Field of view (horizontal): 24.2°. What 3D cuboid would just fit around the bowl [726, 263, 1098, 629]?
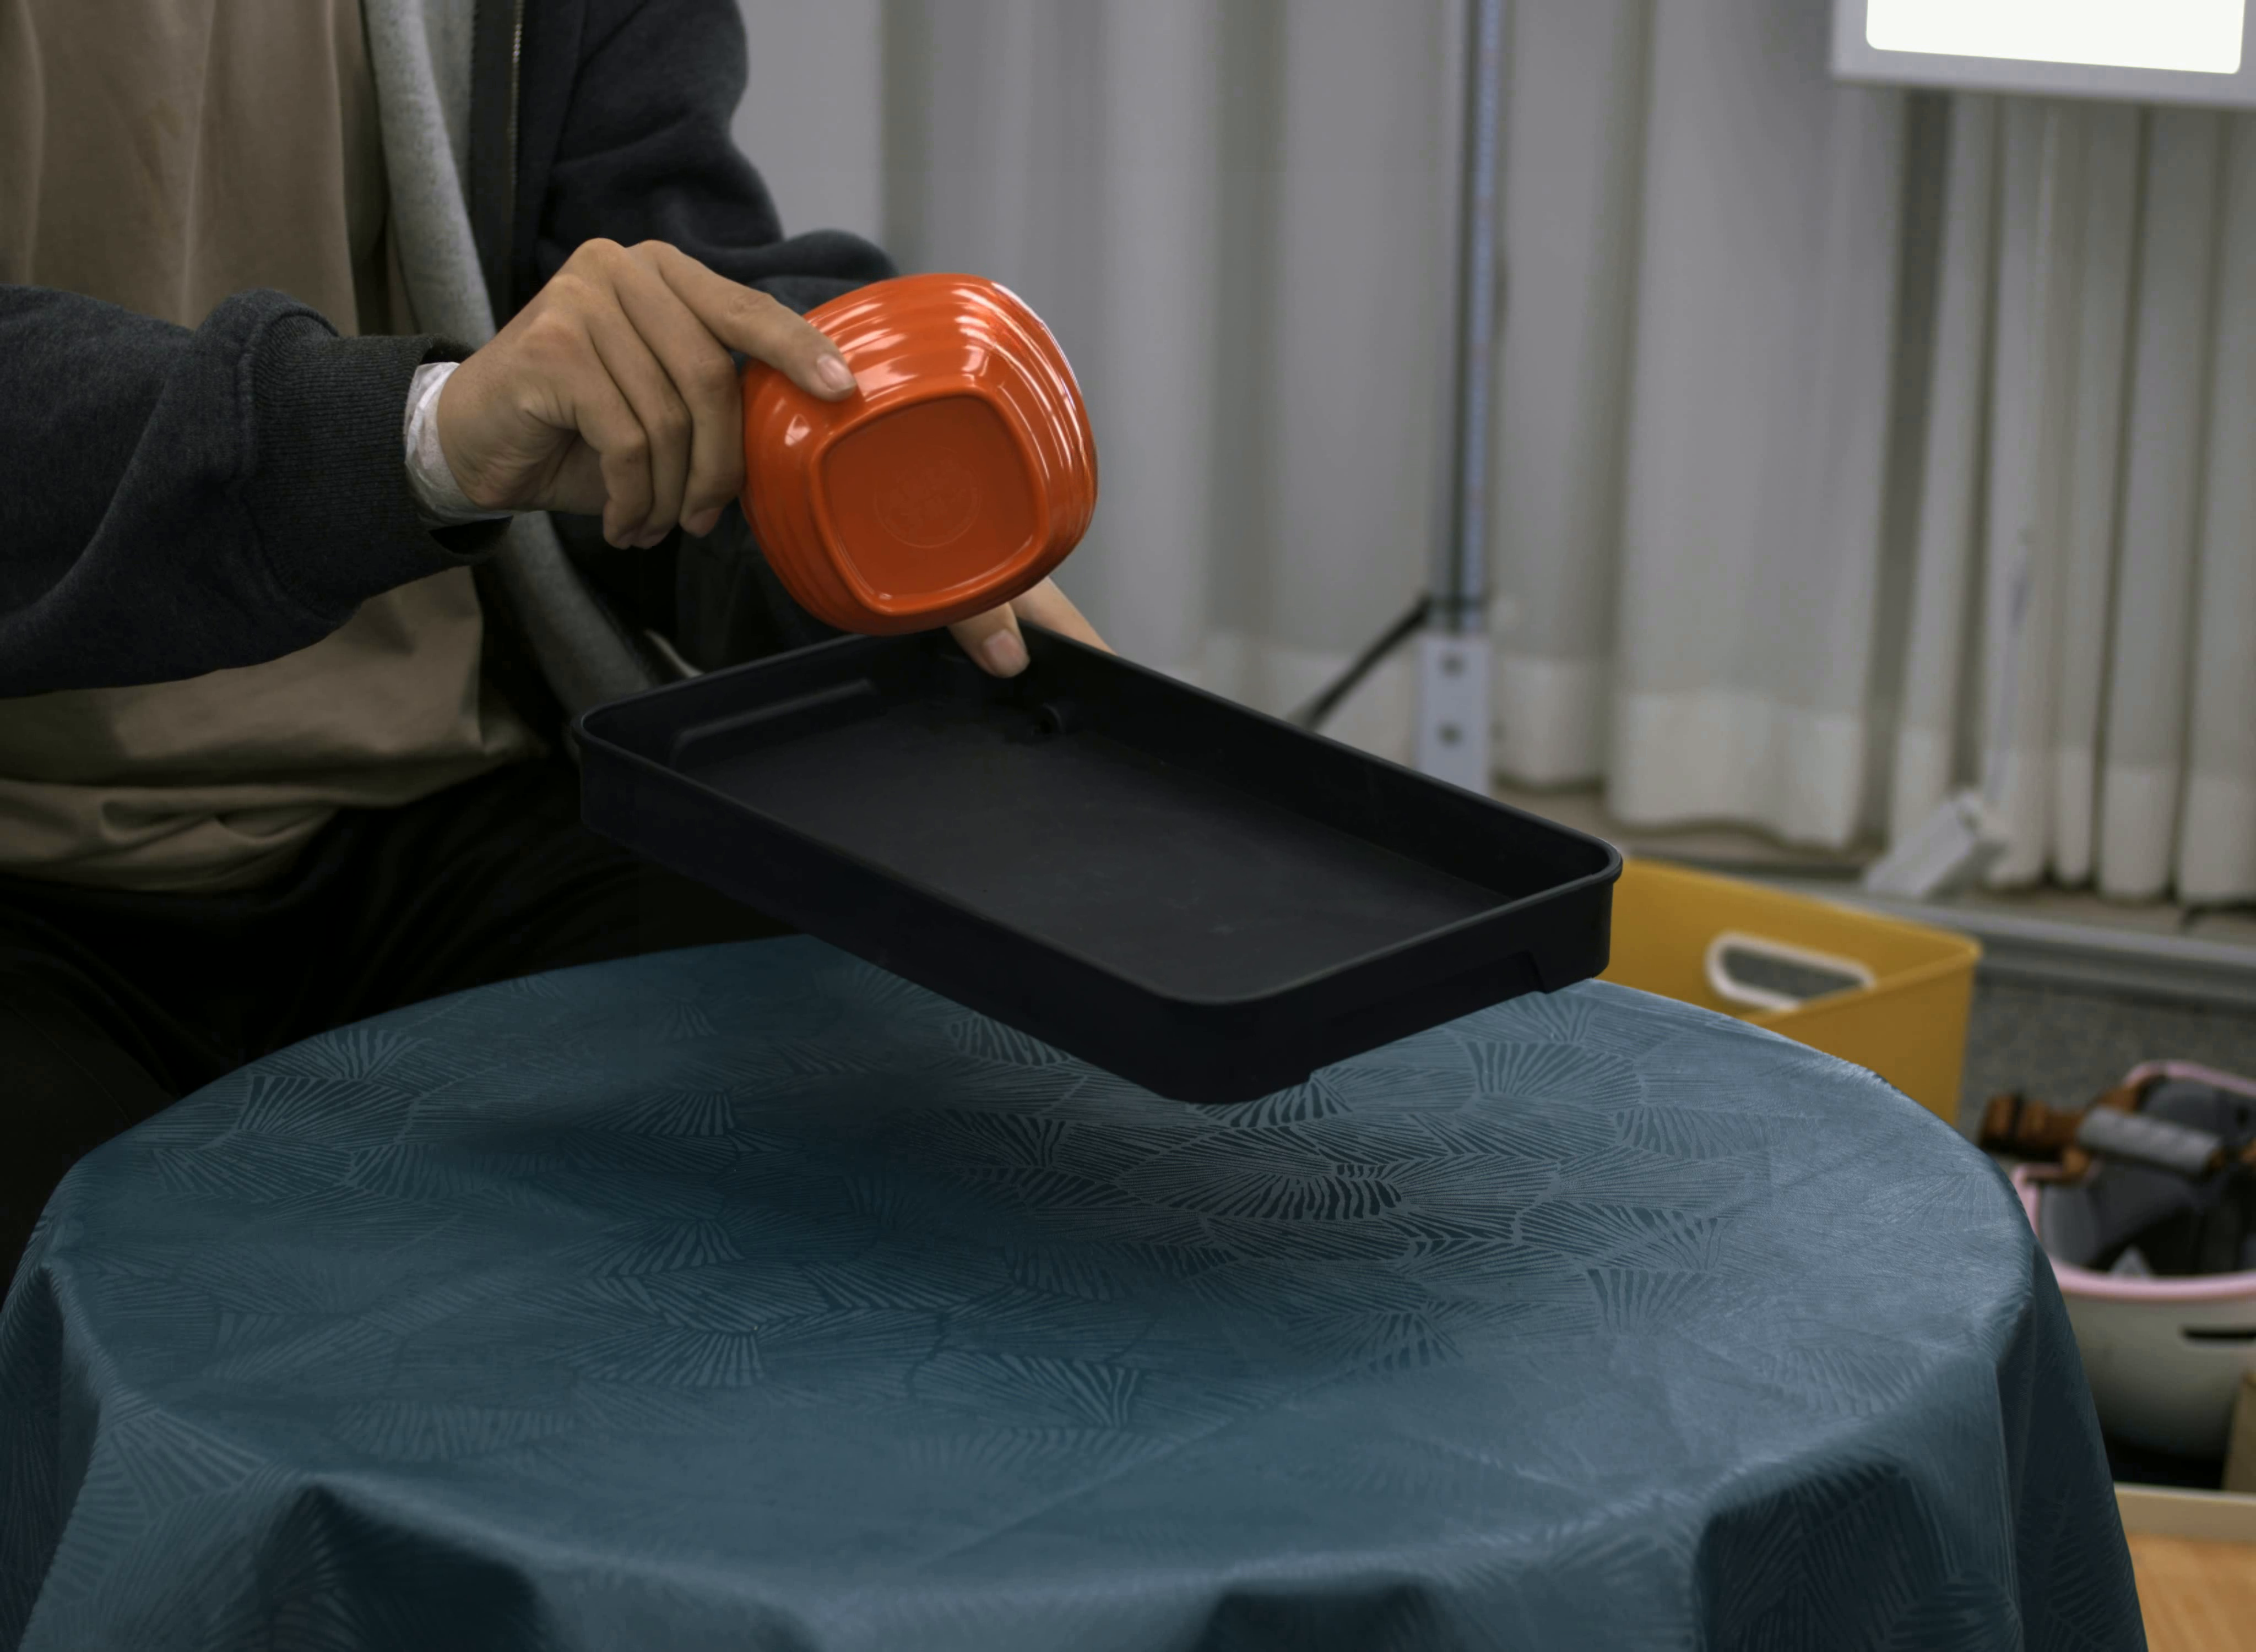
[{"bbox_3d":[-0.062,-0.107,1.581,0.119,0.120,0.051,-2,25,-8],"label":"bowl"}]

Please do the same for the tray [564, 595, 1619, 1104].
[{"bbox_3d":[-0.016,0.000,1.638,0.185,0.037,0.313,-17,29,-40],"label":"tray"}]
